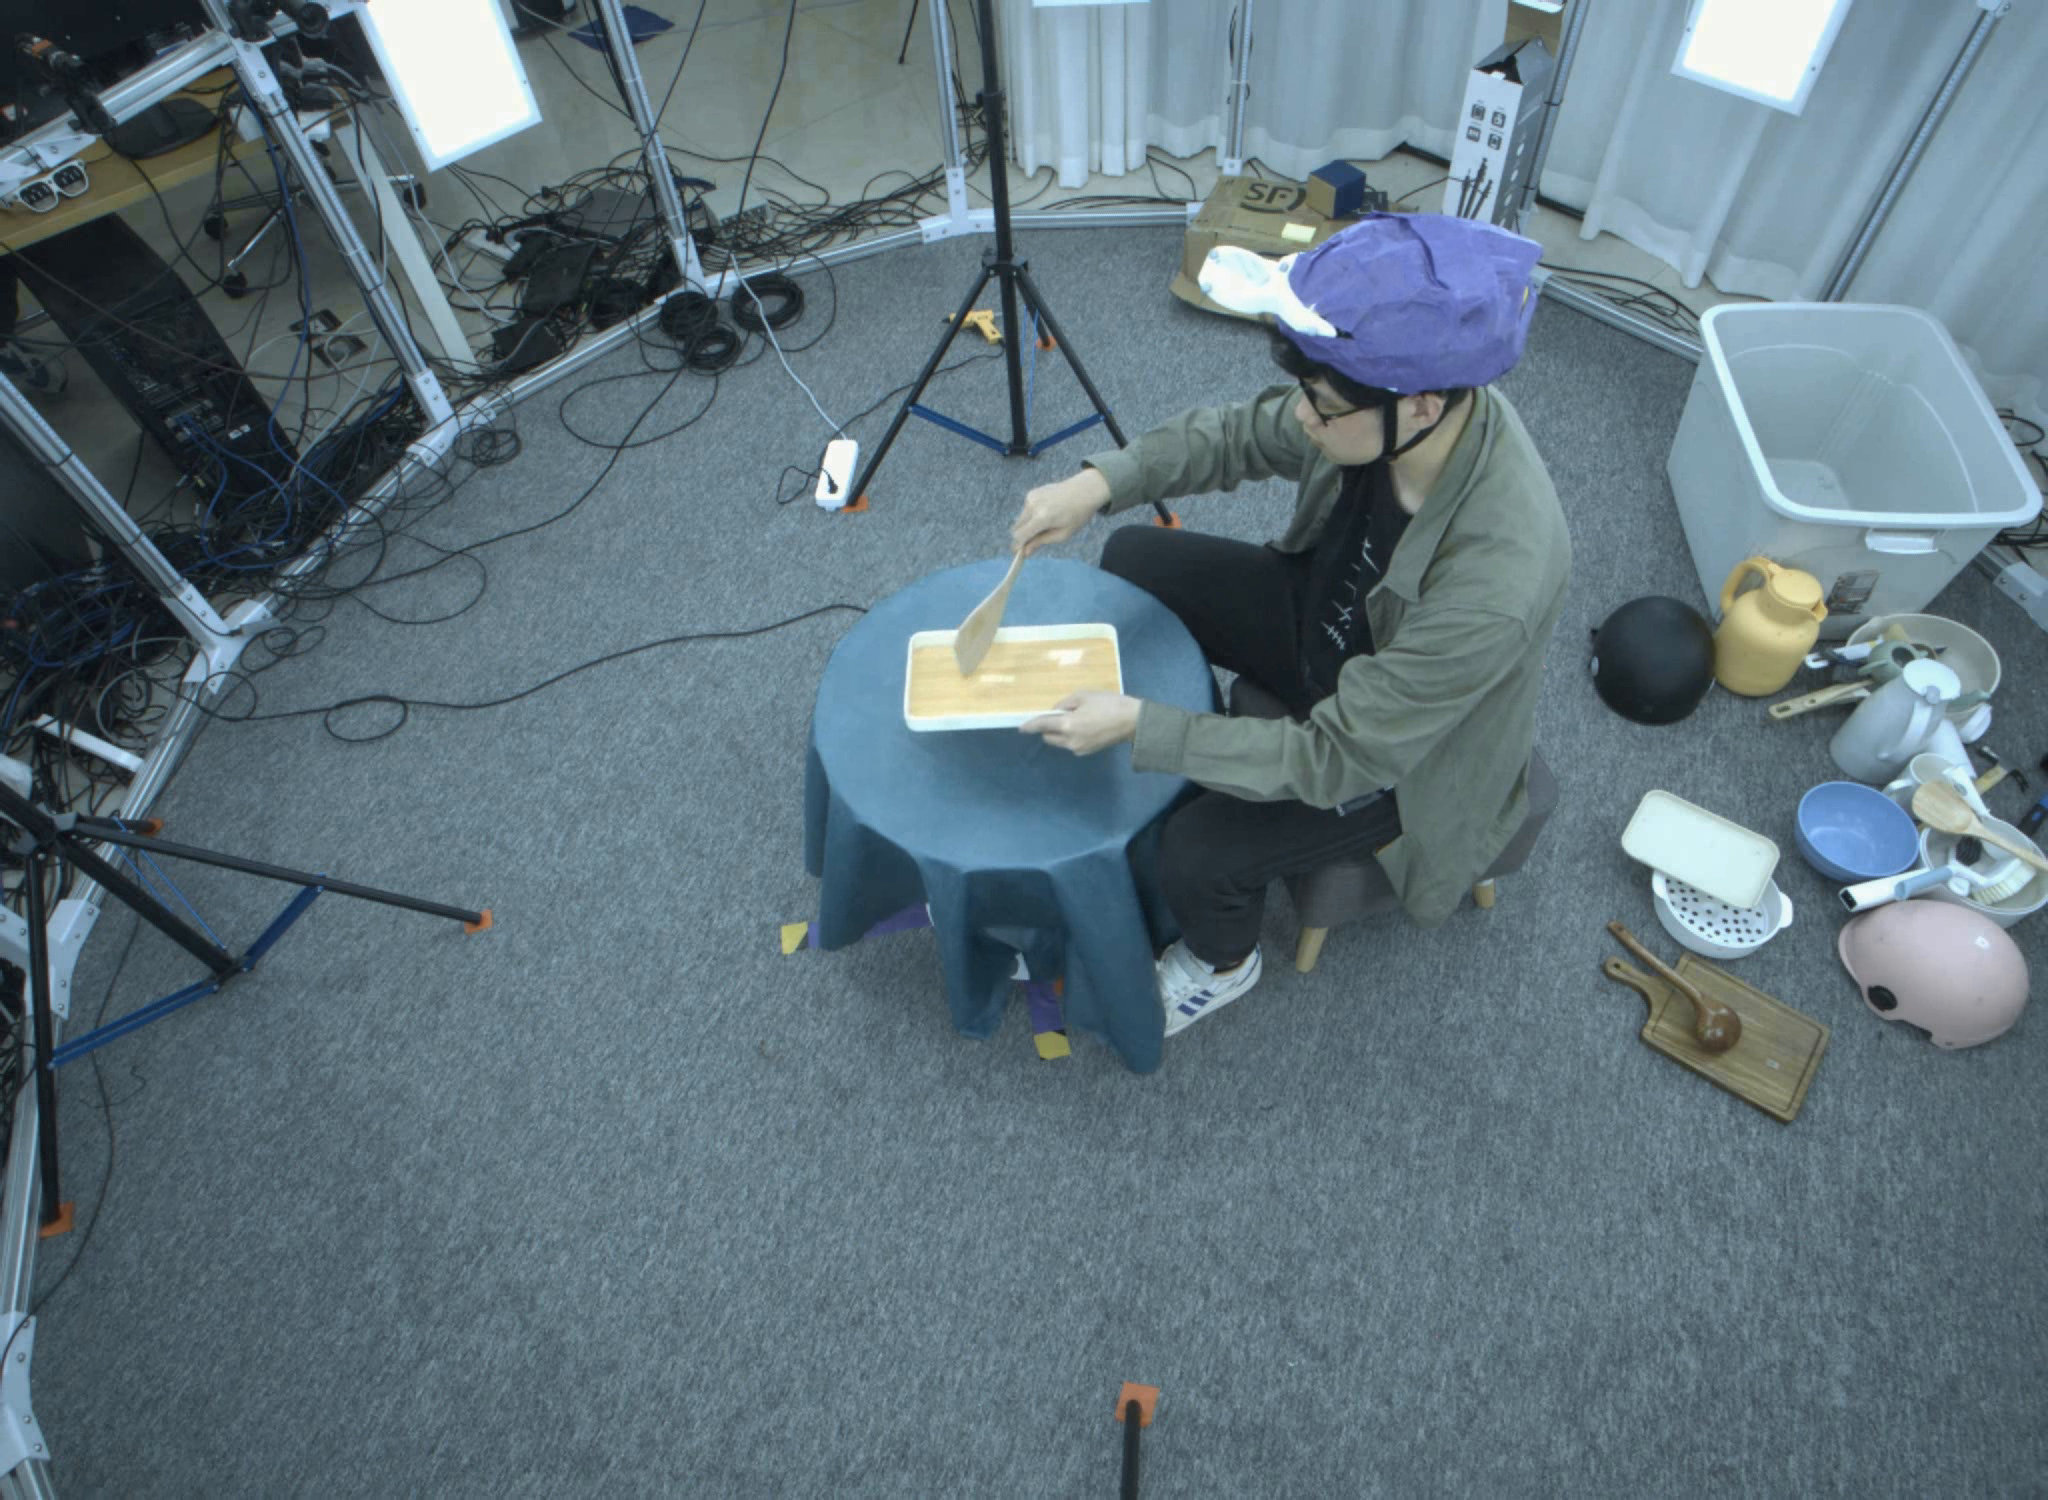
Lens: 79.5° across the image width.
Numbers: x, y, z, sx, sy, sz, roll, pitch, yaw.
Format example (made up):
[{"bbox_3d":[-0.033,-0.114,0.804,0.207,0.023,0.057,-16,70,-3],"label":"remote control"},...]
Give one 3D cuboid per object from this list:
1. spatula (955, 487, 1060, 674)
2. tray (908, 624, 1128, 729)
[{"bbox_3d":[-0.019,-0.253,1.731,0.016,0.081,0.327,12,61,26],"label":"spatula"},{"bbox_3d":[-0.009,-0.105,1.730,0.301,0.027,0.189,-1,45,-2],"label":"tray"}]
